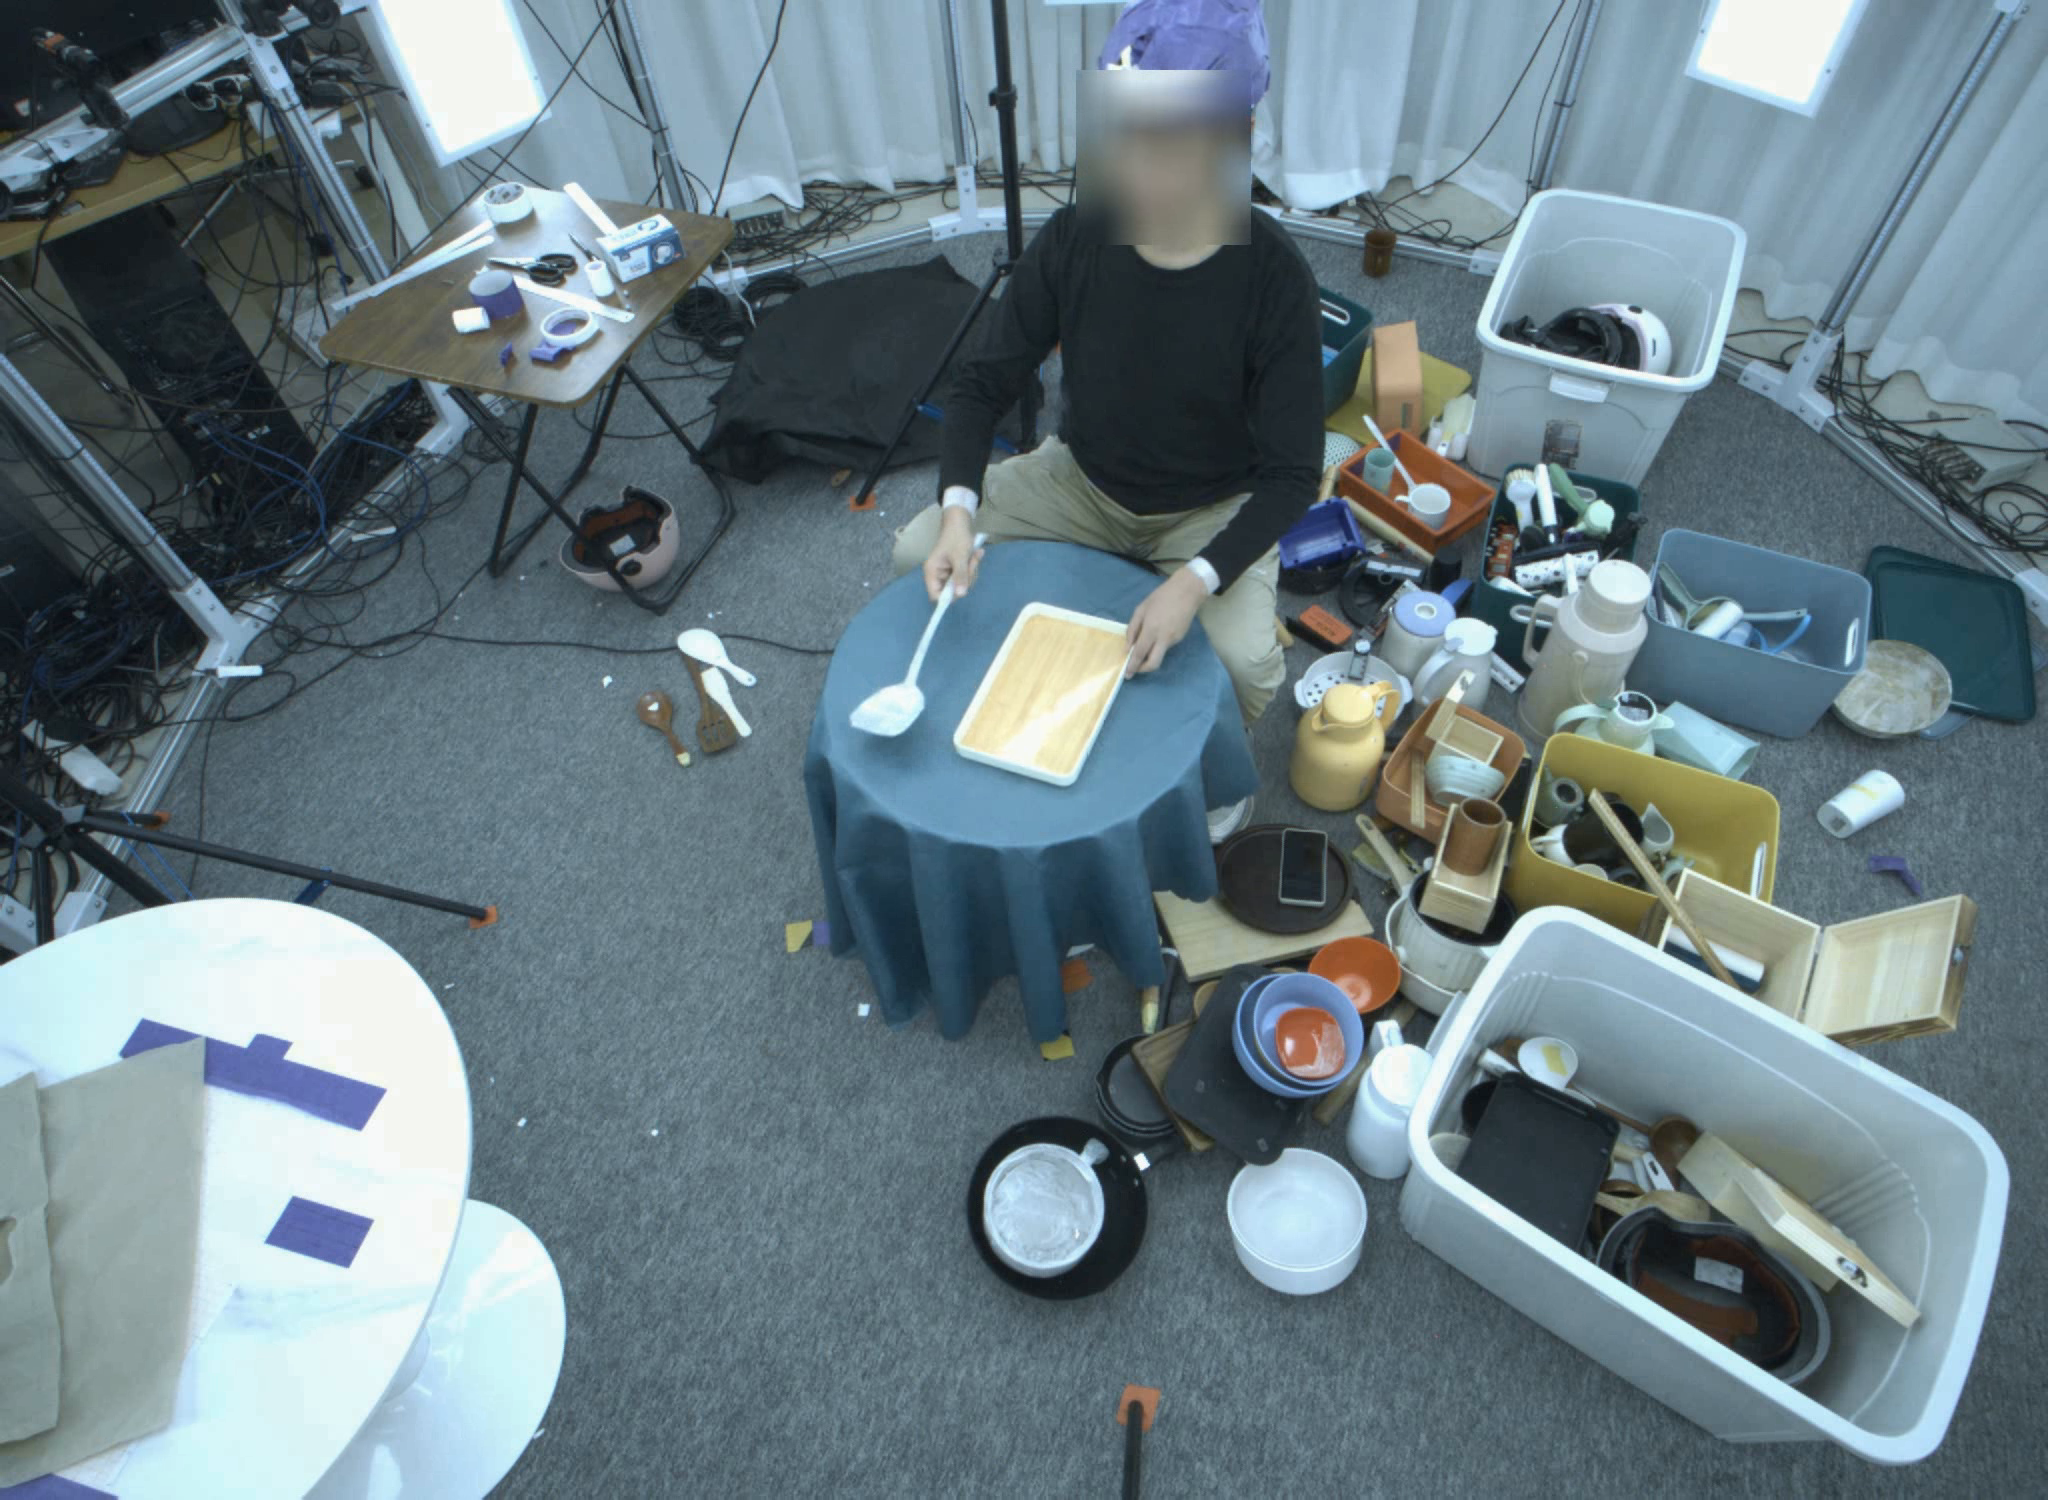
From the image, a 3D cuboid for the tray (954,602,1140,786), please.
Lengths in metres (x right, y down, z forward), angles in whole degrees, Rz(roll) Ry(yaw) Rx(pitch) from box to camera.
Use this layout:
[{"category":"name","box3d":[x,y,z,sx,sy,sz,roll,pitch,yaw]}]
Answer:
[{"category":"tray","box3d":[0.038,-0.089,1.831,0.189,0.028,0.300,17,57,15]}]

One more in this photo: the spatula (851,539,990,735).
[{"category":"spatula","box3d":[-0.138,-0.176,1.803,0.097,0.045,0.364,16,72,24]}]
